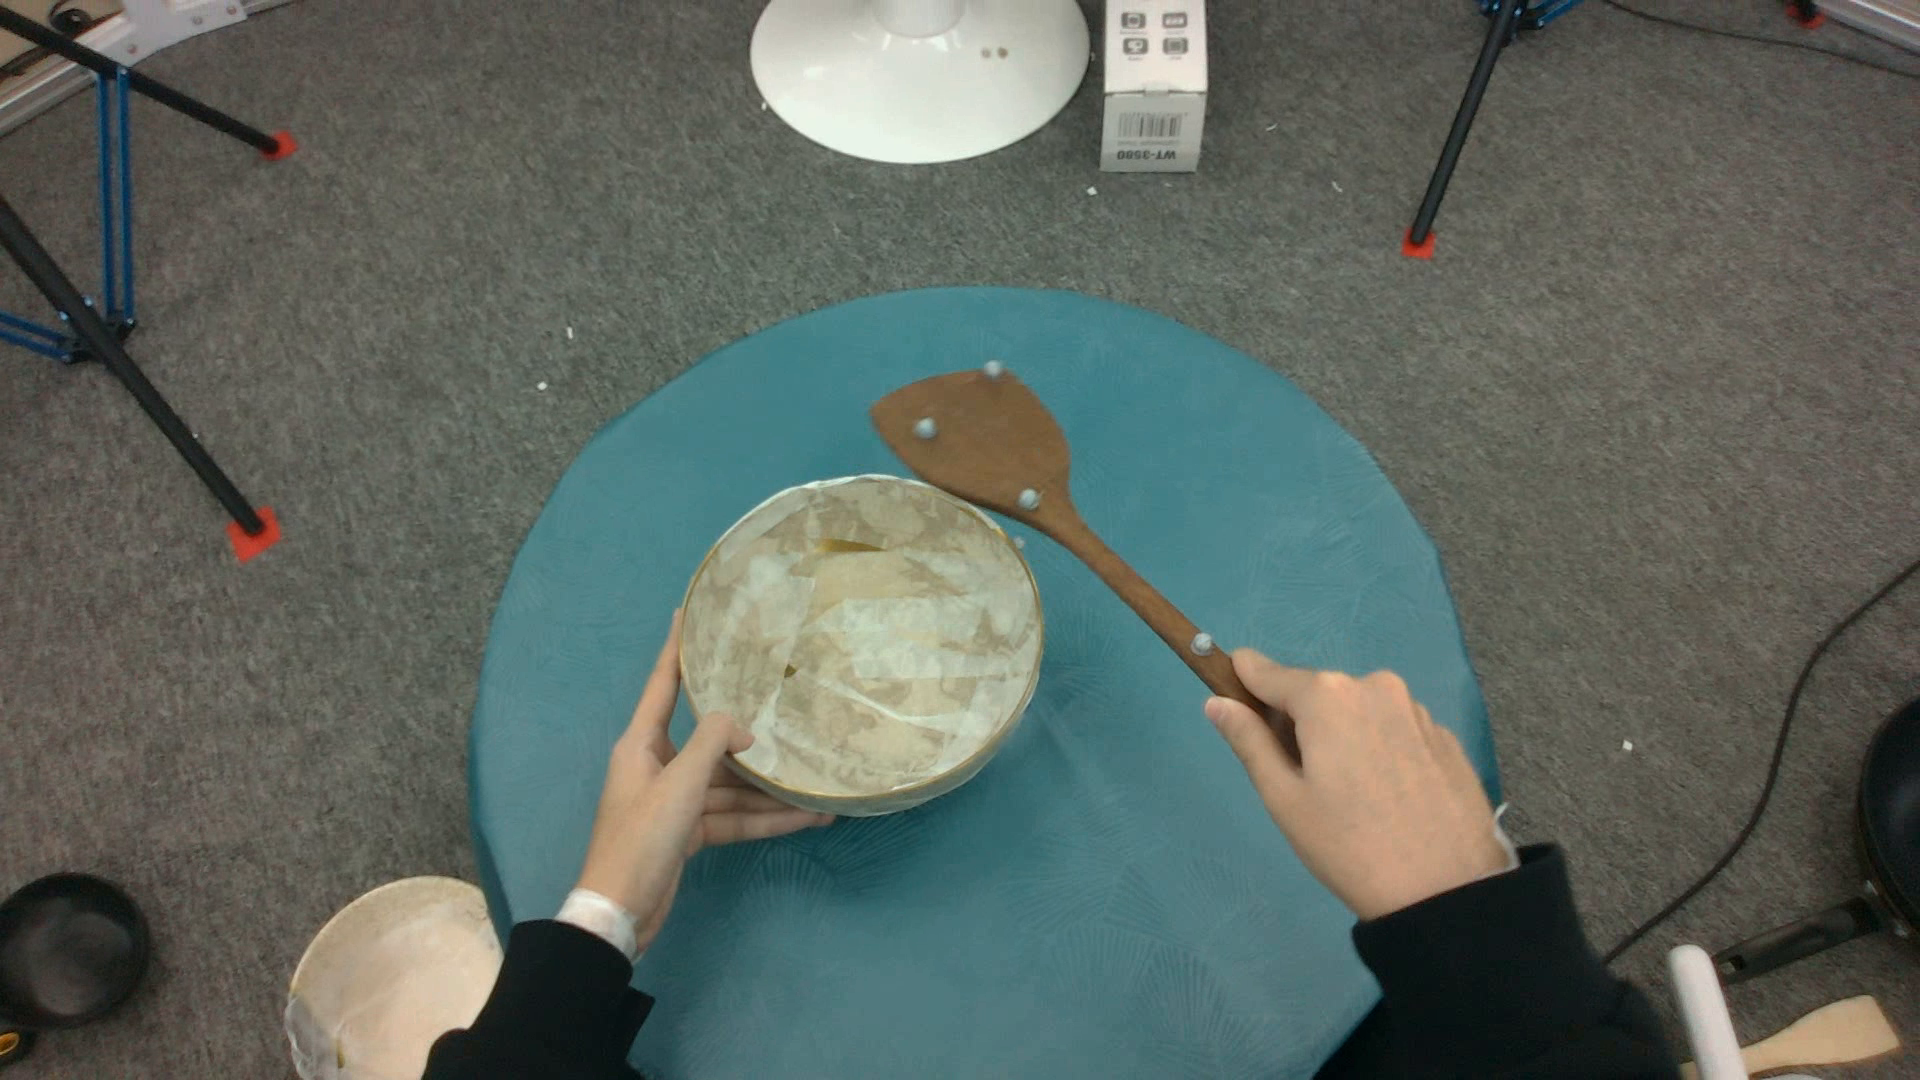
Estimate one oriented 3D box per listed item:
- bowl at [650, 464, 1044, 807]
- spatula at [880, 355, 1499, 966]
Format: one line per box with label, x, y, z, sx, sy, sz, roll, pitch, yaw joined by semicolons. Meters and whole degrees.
bowl;-0.060;0.067;0.780;0.215;0.094;0.215;1;57;-2
spatula;0.095;0.034;0.623;0.096;0.015;0.386;-19;51;-31
